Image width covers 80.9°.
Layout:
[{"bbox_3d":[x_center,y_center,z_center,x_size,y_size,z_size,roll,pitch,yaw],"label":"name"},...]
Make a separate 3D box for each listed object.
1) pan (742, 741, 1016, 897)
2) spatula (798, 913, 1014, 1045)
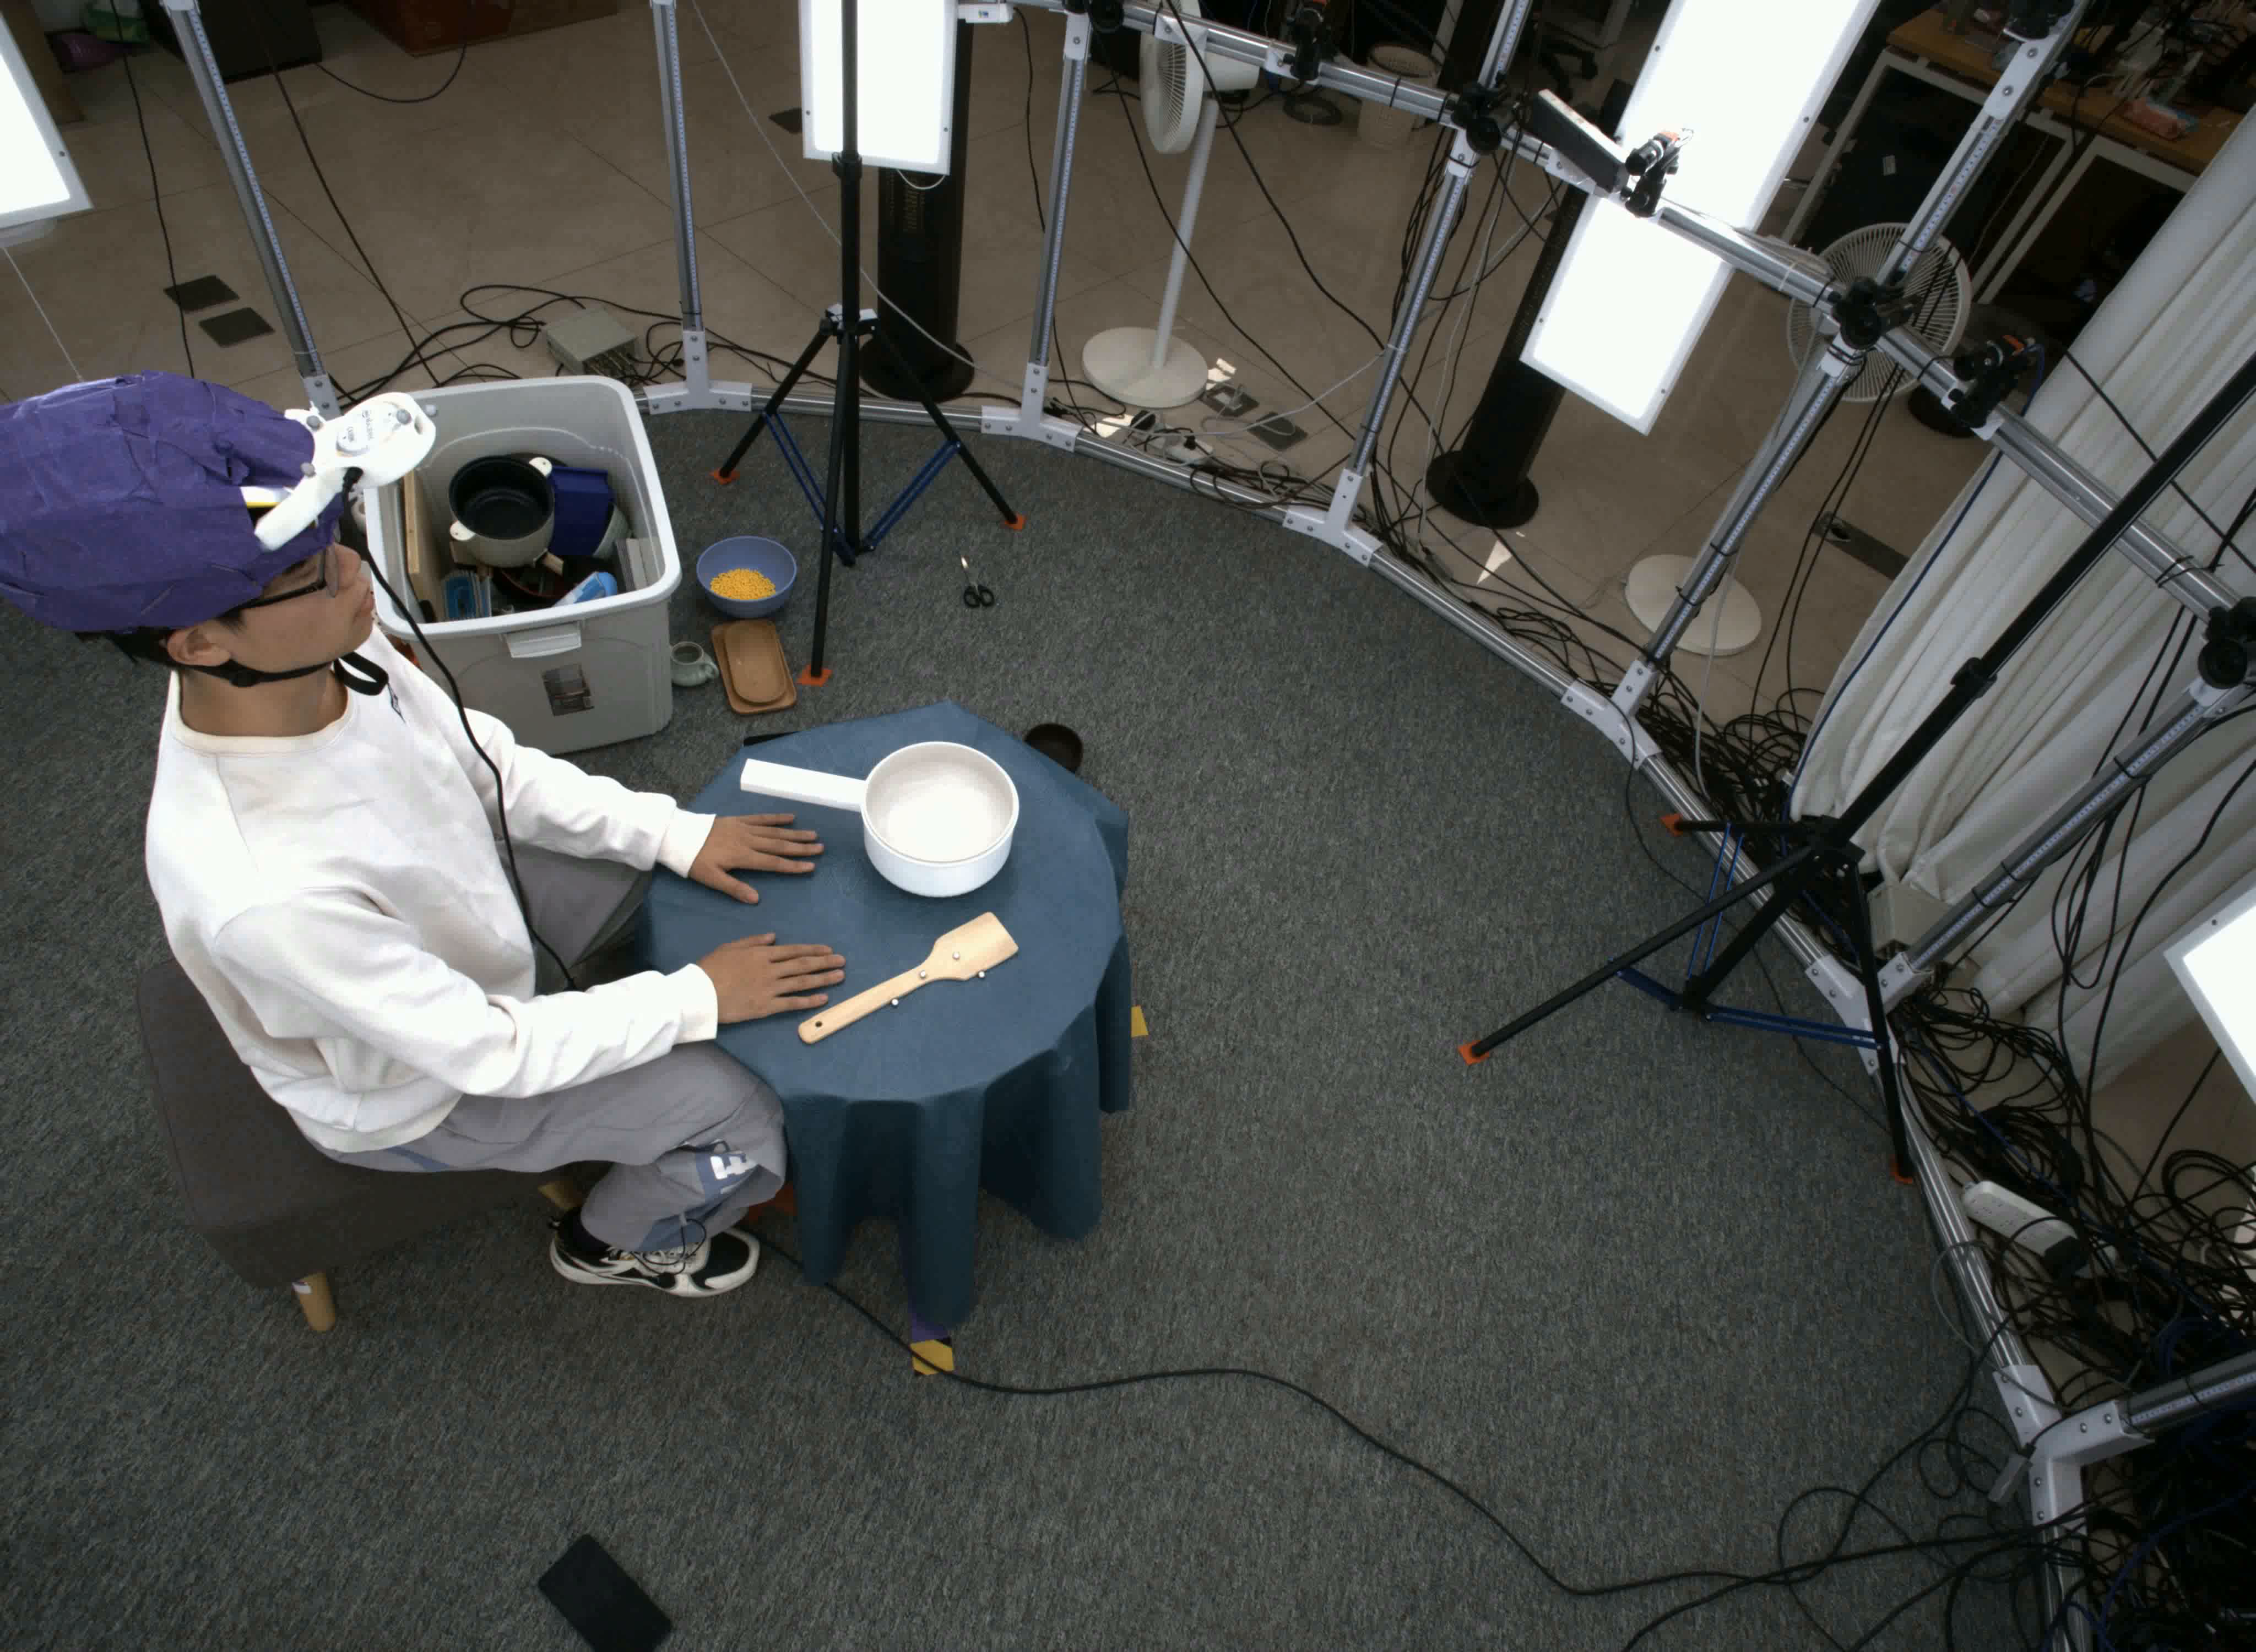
[{"bbox_3d":[-0.325,-0.018,1.707,0.353,0.104,0.198,10,52,-5],"label":"pan"},{"bbox_3d":[-0.277,0.194,1.620,0.294,0.011,0.070,-27,65,-29],"label":"spatula"}]
